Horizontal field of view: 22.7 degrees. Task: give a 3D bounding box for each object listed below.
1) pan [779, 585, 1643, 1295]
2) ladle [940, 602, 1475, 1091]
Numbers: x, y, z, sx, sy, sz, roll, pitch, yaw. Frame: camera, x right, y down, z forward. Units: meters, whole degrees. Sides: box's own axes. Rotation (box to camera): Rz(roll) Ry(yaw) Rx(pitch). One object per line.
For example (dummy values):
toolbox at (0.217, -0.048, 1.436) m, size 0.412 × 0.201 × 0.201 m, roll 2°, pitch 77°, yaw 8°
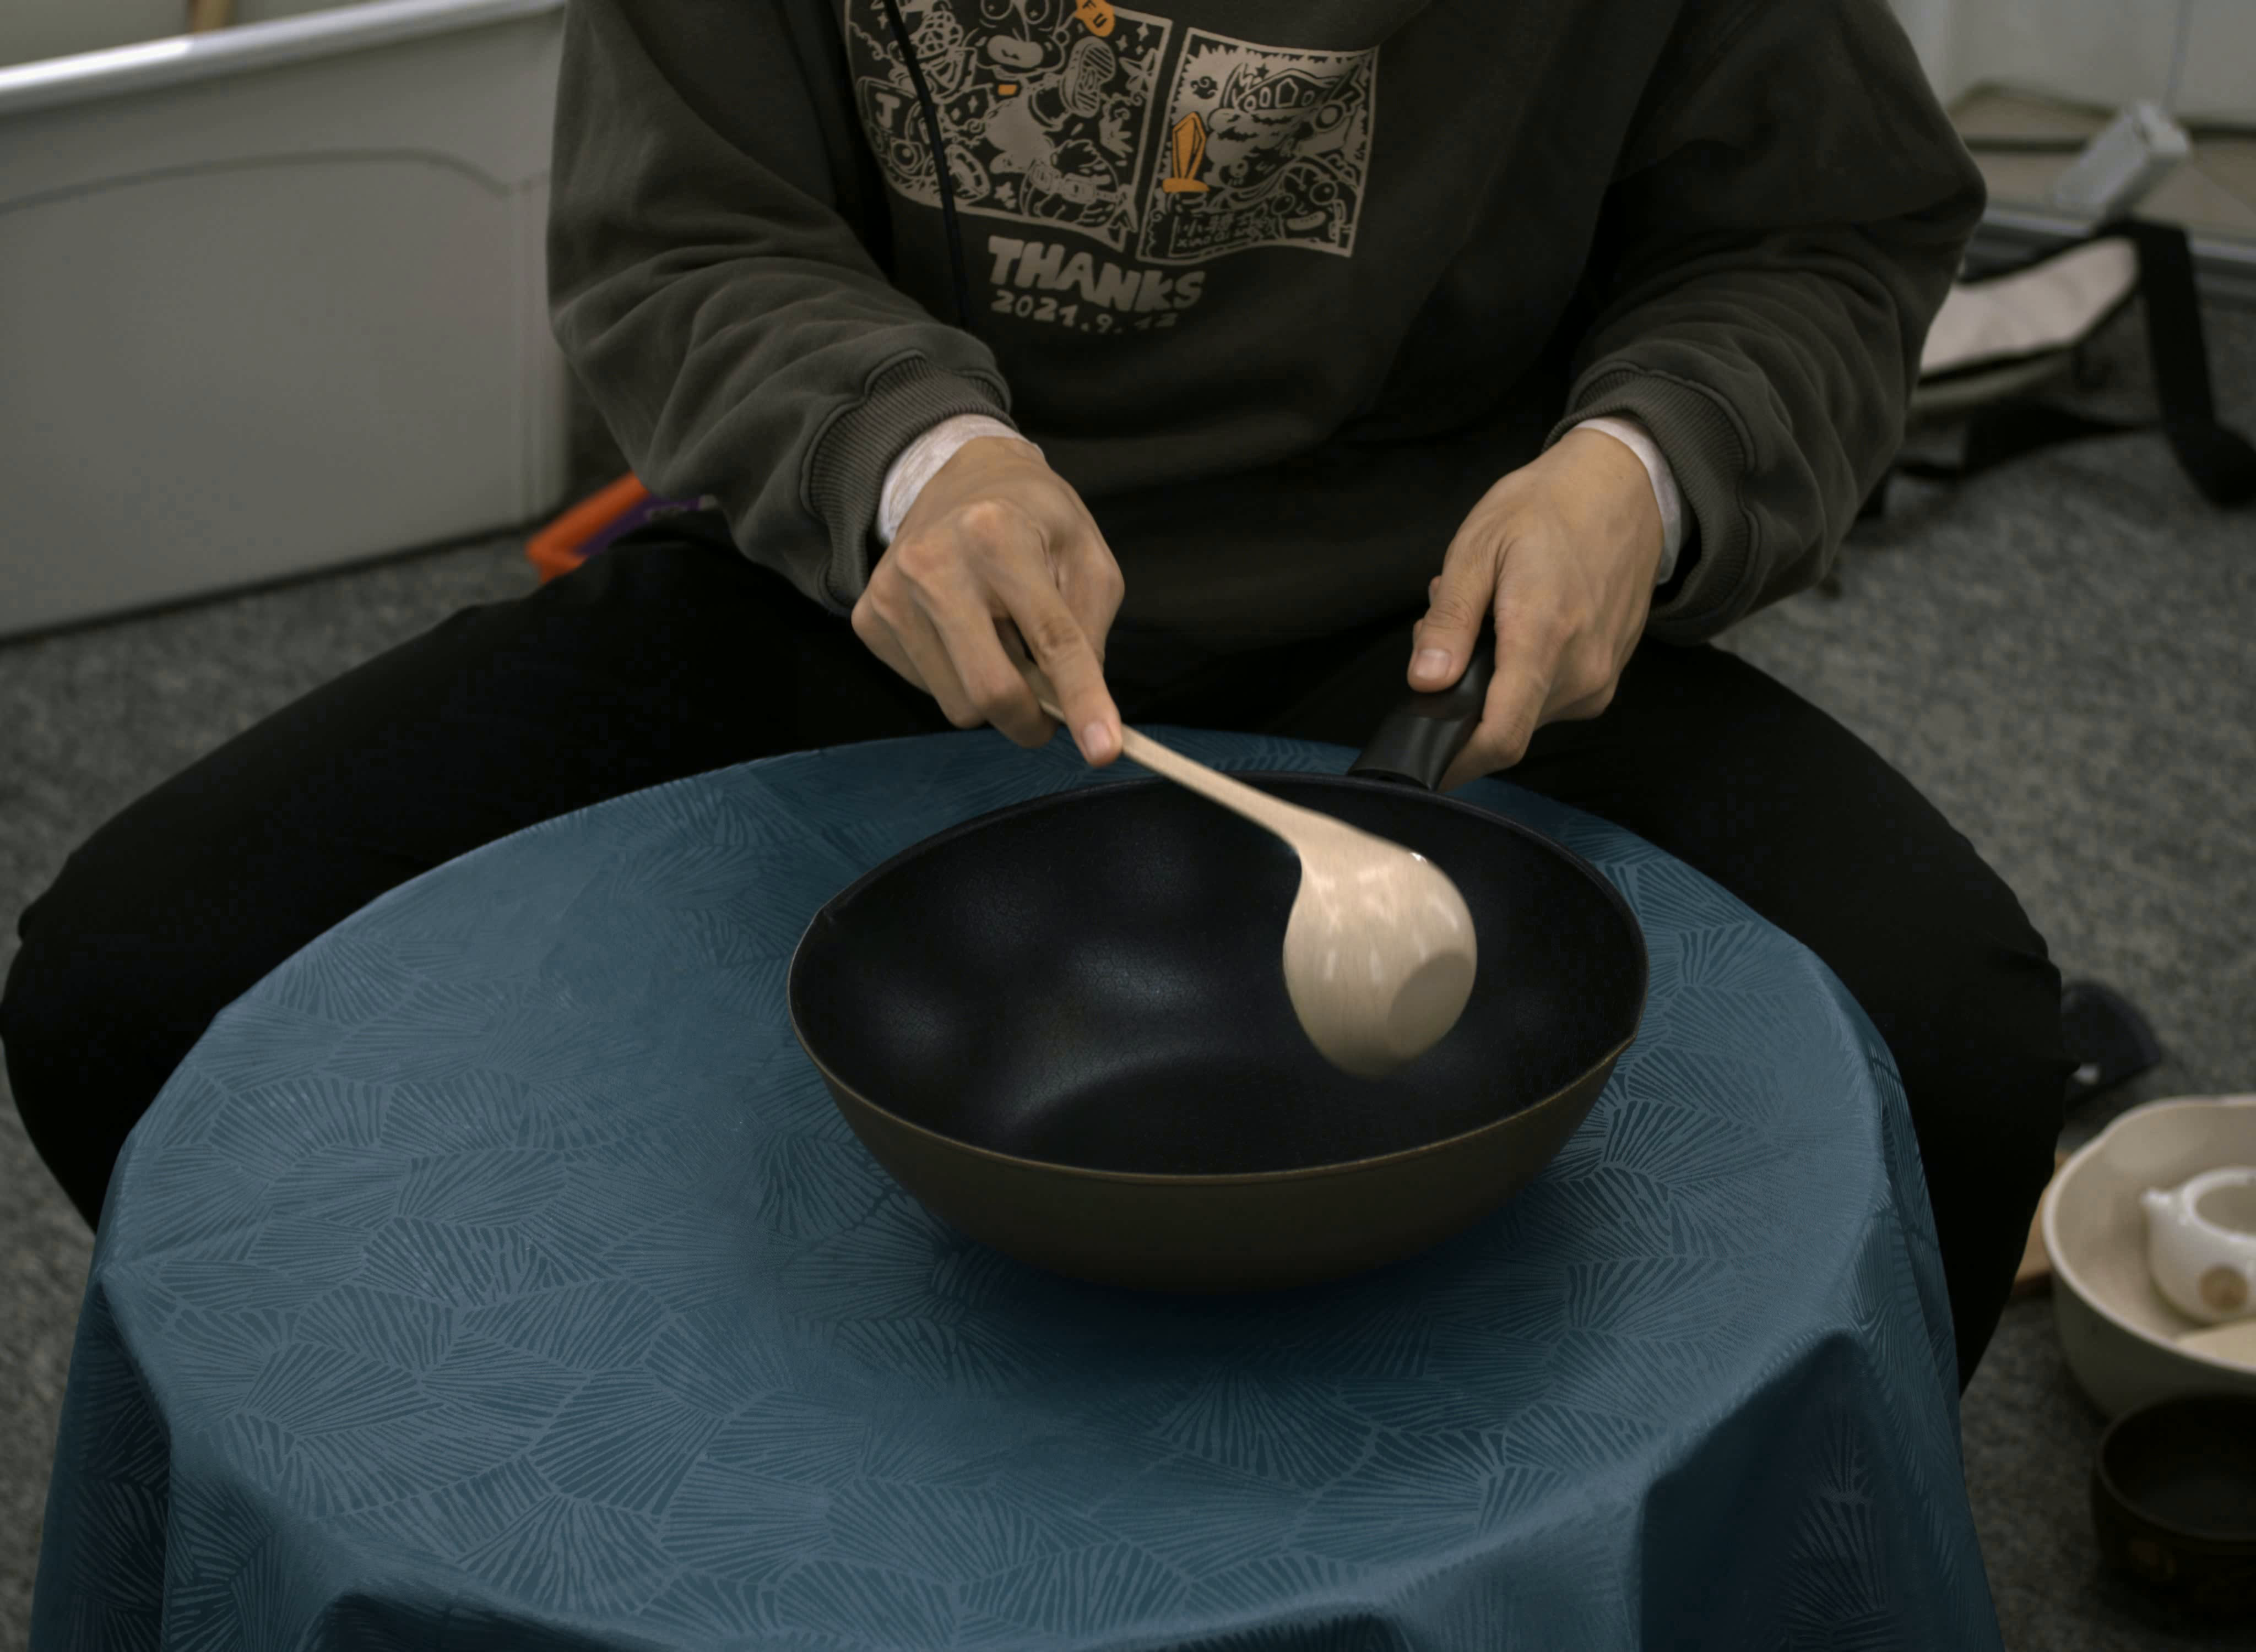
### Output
pan at (0.064, 0.039, 1.924) m, size 0.286 × 0.086 × 0.471 m, roll 9°, pitch 28°, yaw 22°
ladle at (0.016, 0.006, 1.884) m, size 0.073 × 0.072 × 0.255 m, roll -19°, pitch 36°, yaw -35°
